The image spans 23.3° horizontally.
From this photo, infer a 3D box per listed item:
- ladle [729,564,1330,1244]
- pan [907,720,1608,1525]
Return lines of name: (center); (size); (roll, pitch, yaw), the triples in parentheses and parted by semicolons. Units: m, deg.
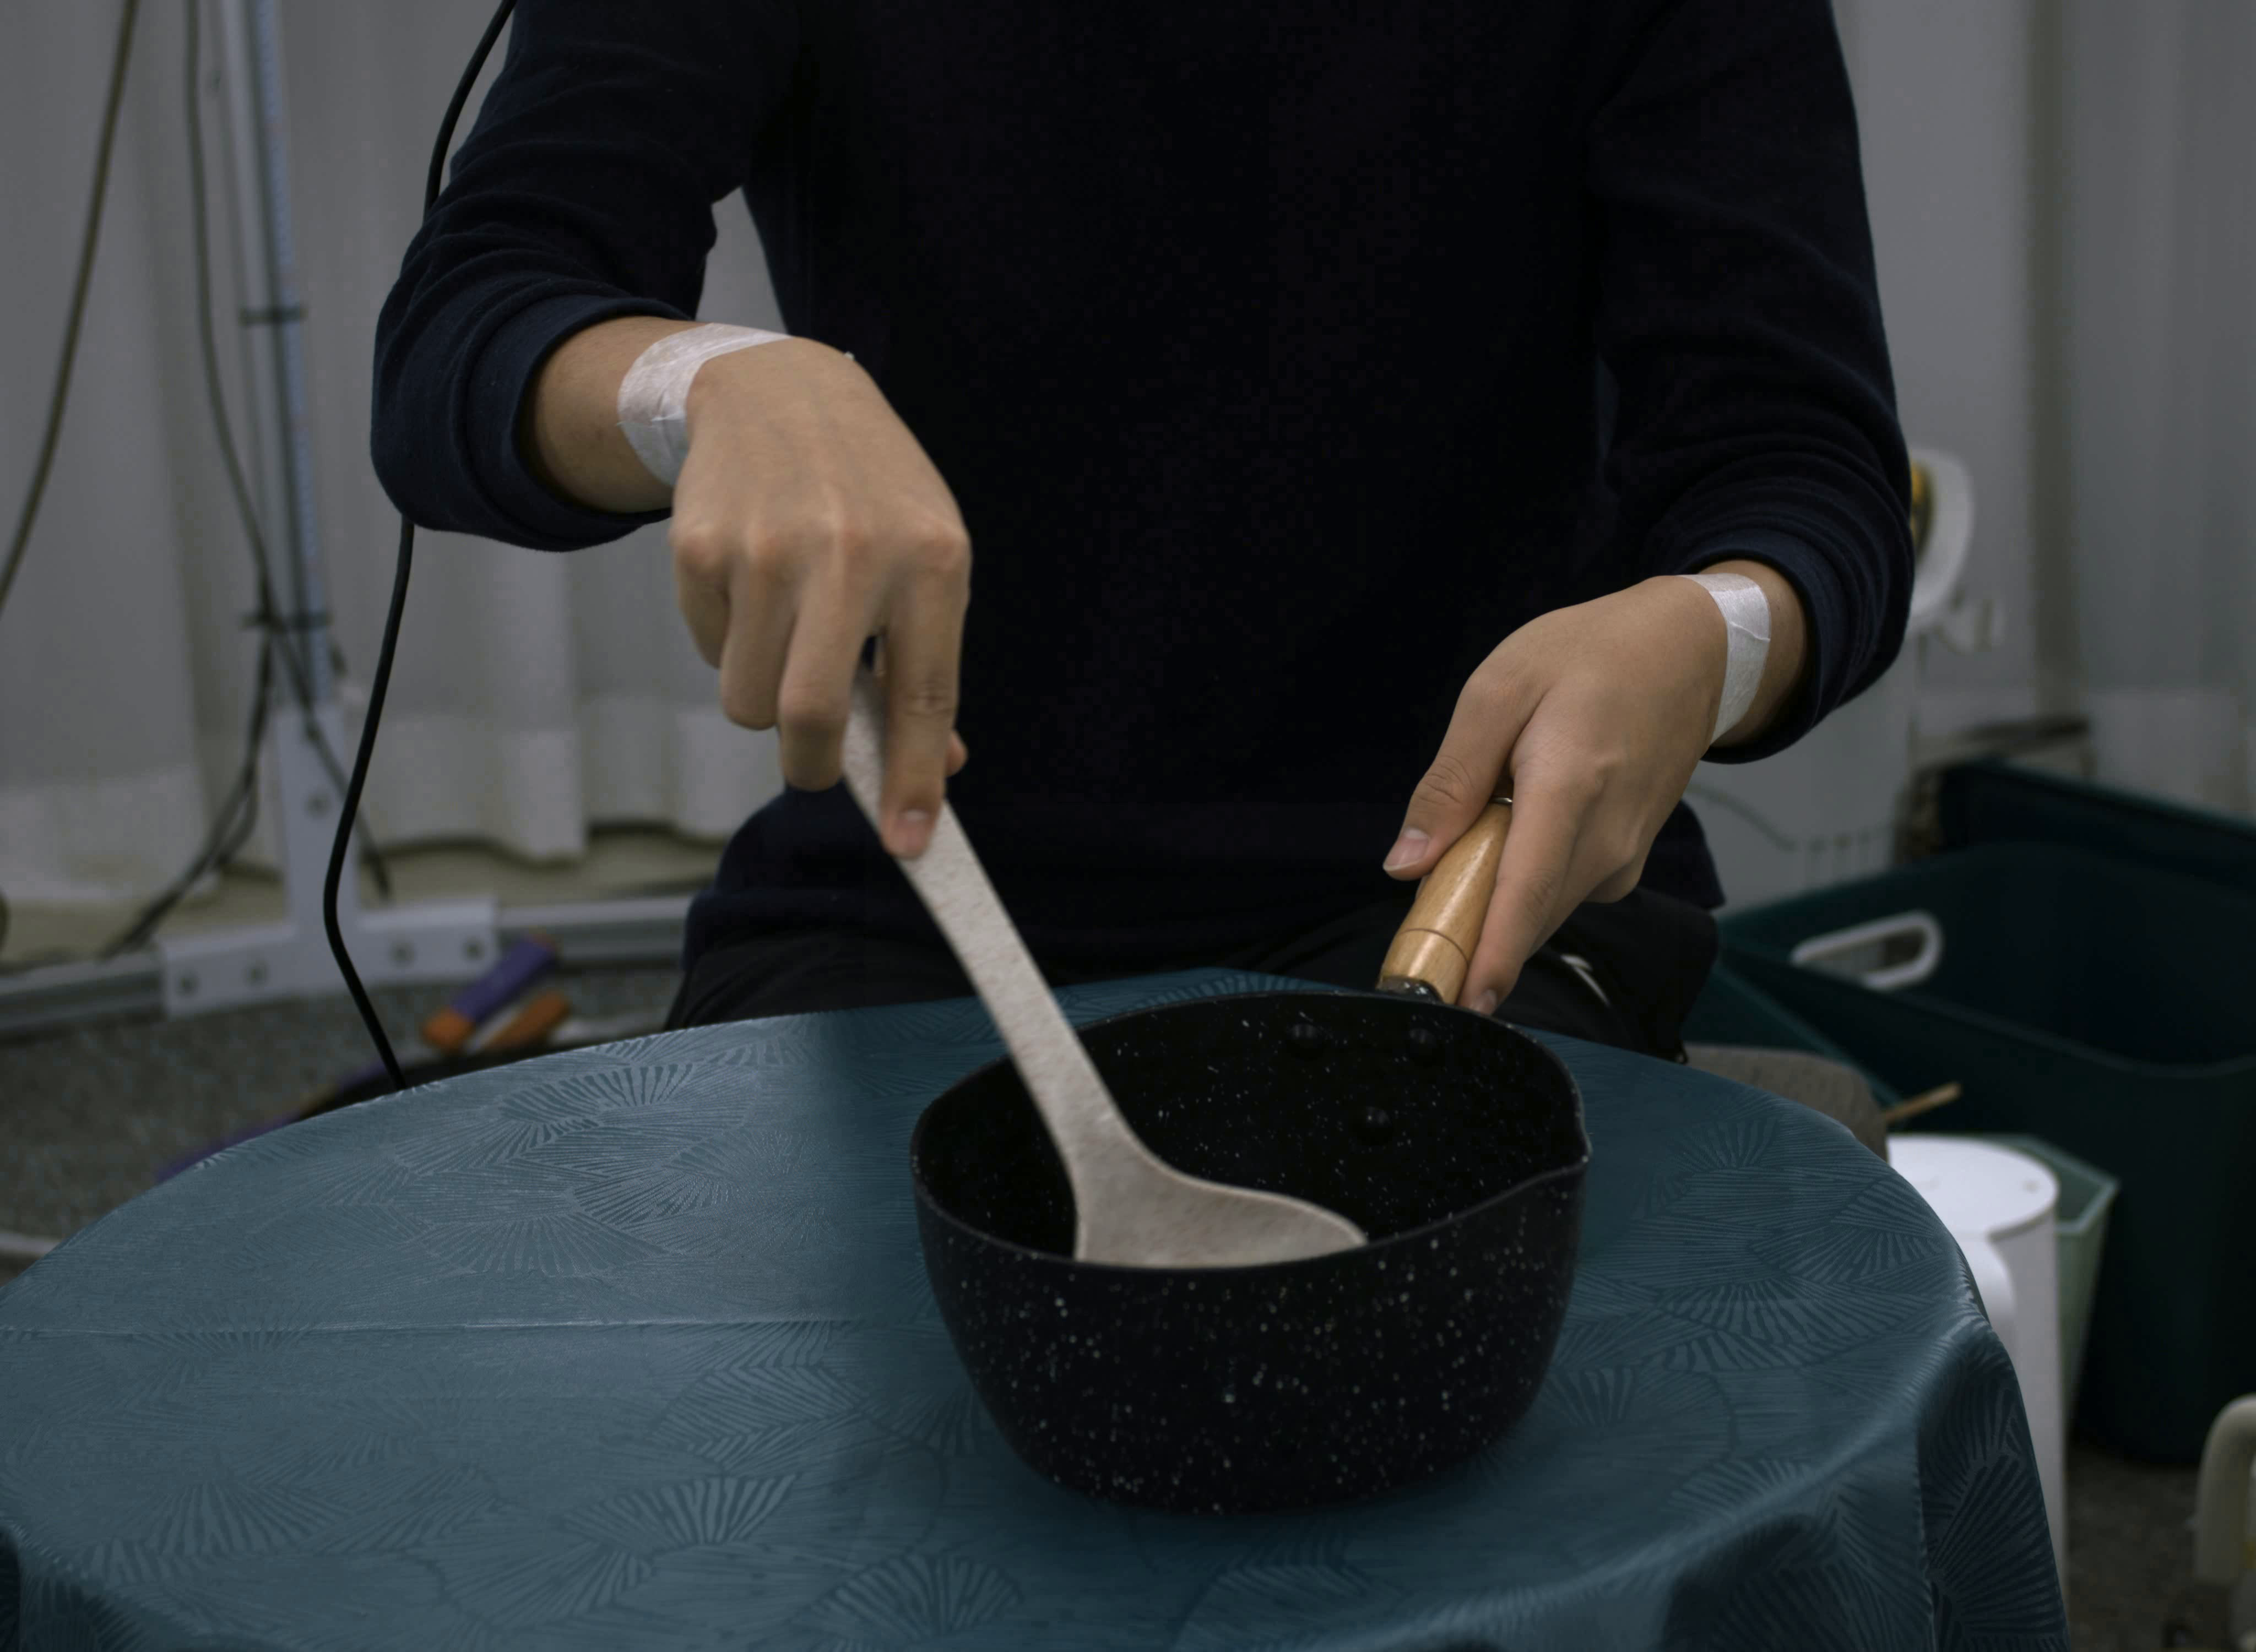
ladle: (-0.031, 0.035, 1.524); (0.089, 0.276, 0.069); (-25, -8, -28)
pan: (0.065, 0.080, 1.567); (0.207, 0.107, 0.345); (2, 23, 23)
